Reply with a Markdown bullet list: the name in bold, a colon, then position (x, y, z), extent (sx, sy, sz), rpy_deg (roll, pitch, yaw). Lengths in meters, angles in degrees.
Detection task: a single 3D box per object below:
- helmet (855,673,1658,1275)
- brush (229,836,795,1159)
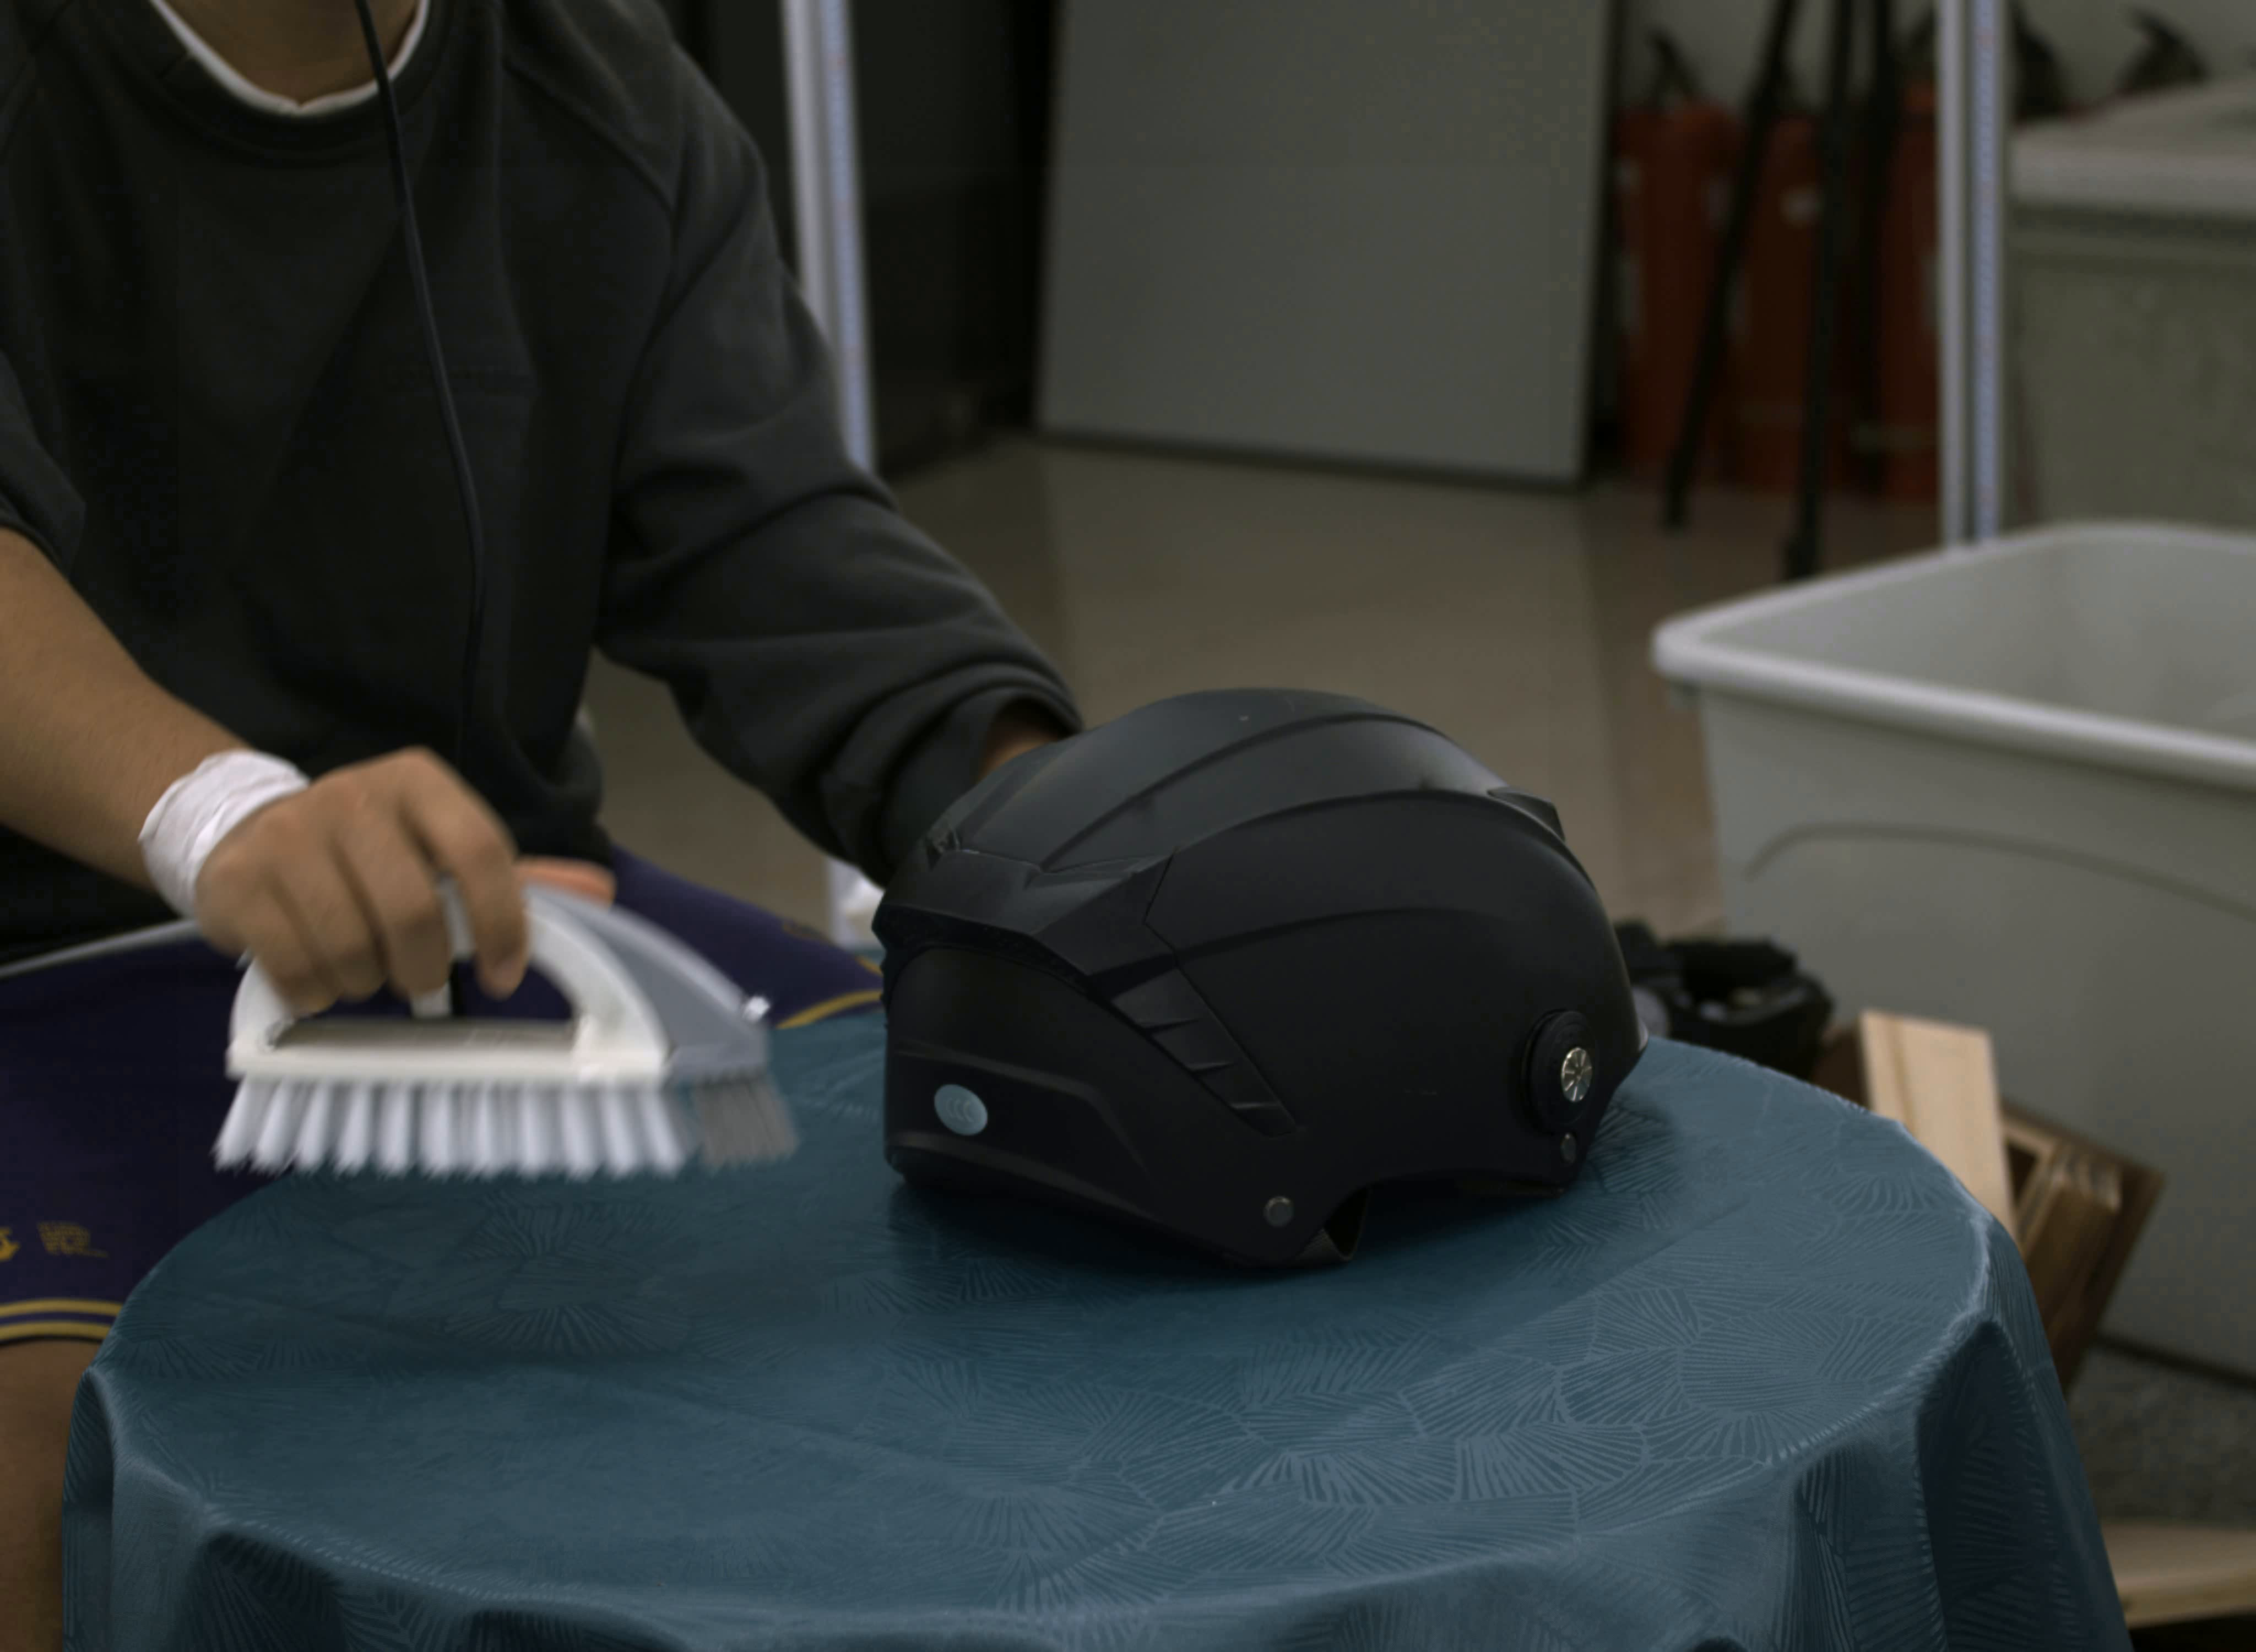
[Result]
- **helmet**: position (0.042, 0.037, 1.766), extent (0.271, 0.174, 0.249), rpy_deg (-21, 22, -39)
- **brush**: position (-0.186, 0.051, 1.651), extent (0.174, 0.095, 0.061), rpy_deg (3, 9, 7)
